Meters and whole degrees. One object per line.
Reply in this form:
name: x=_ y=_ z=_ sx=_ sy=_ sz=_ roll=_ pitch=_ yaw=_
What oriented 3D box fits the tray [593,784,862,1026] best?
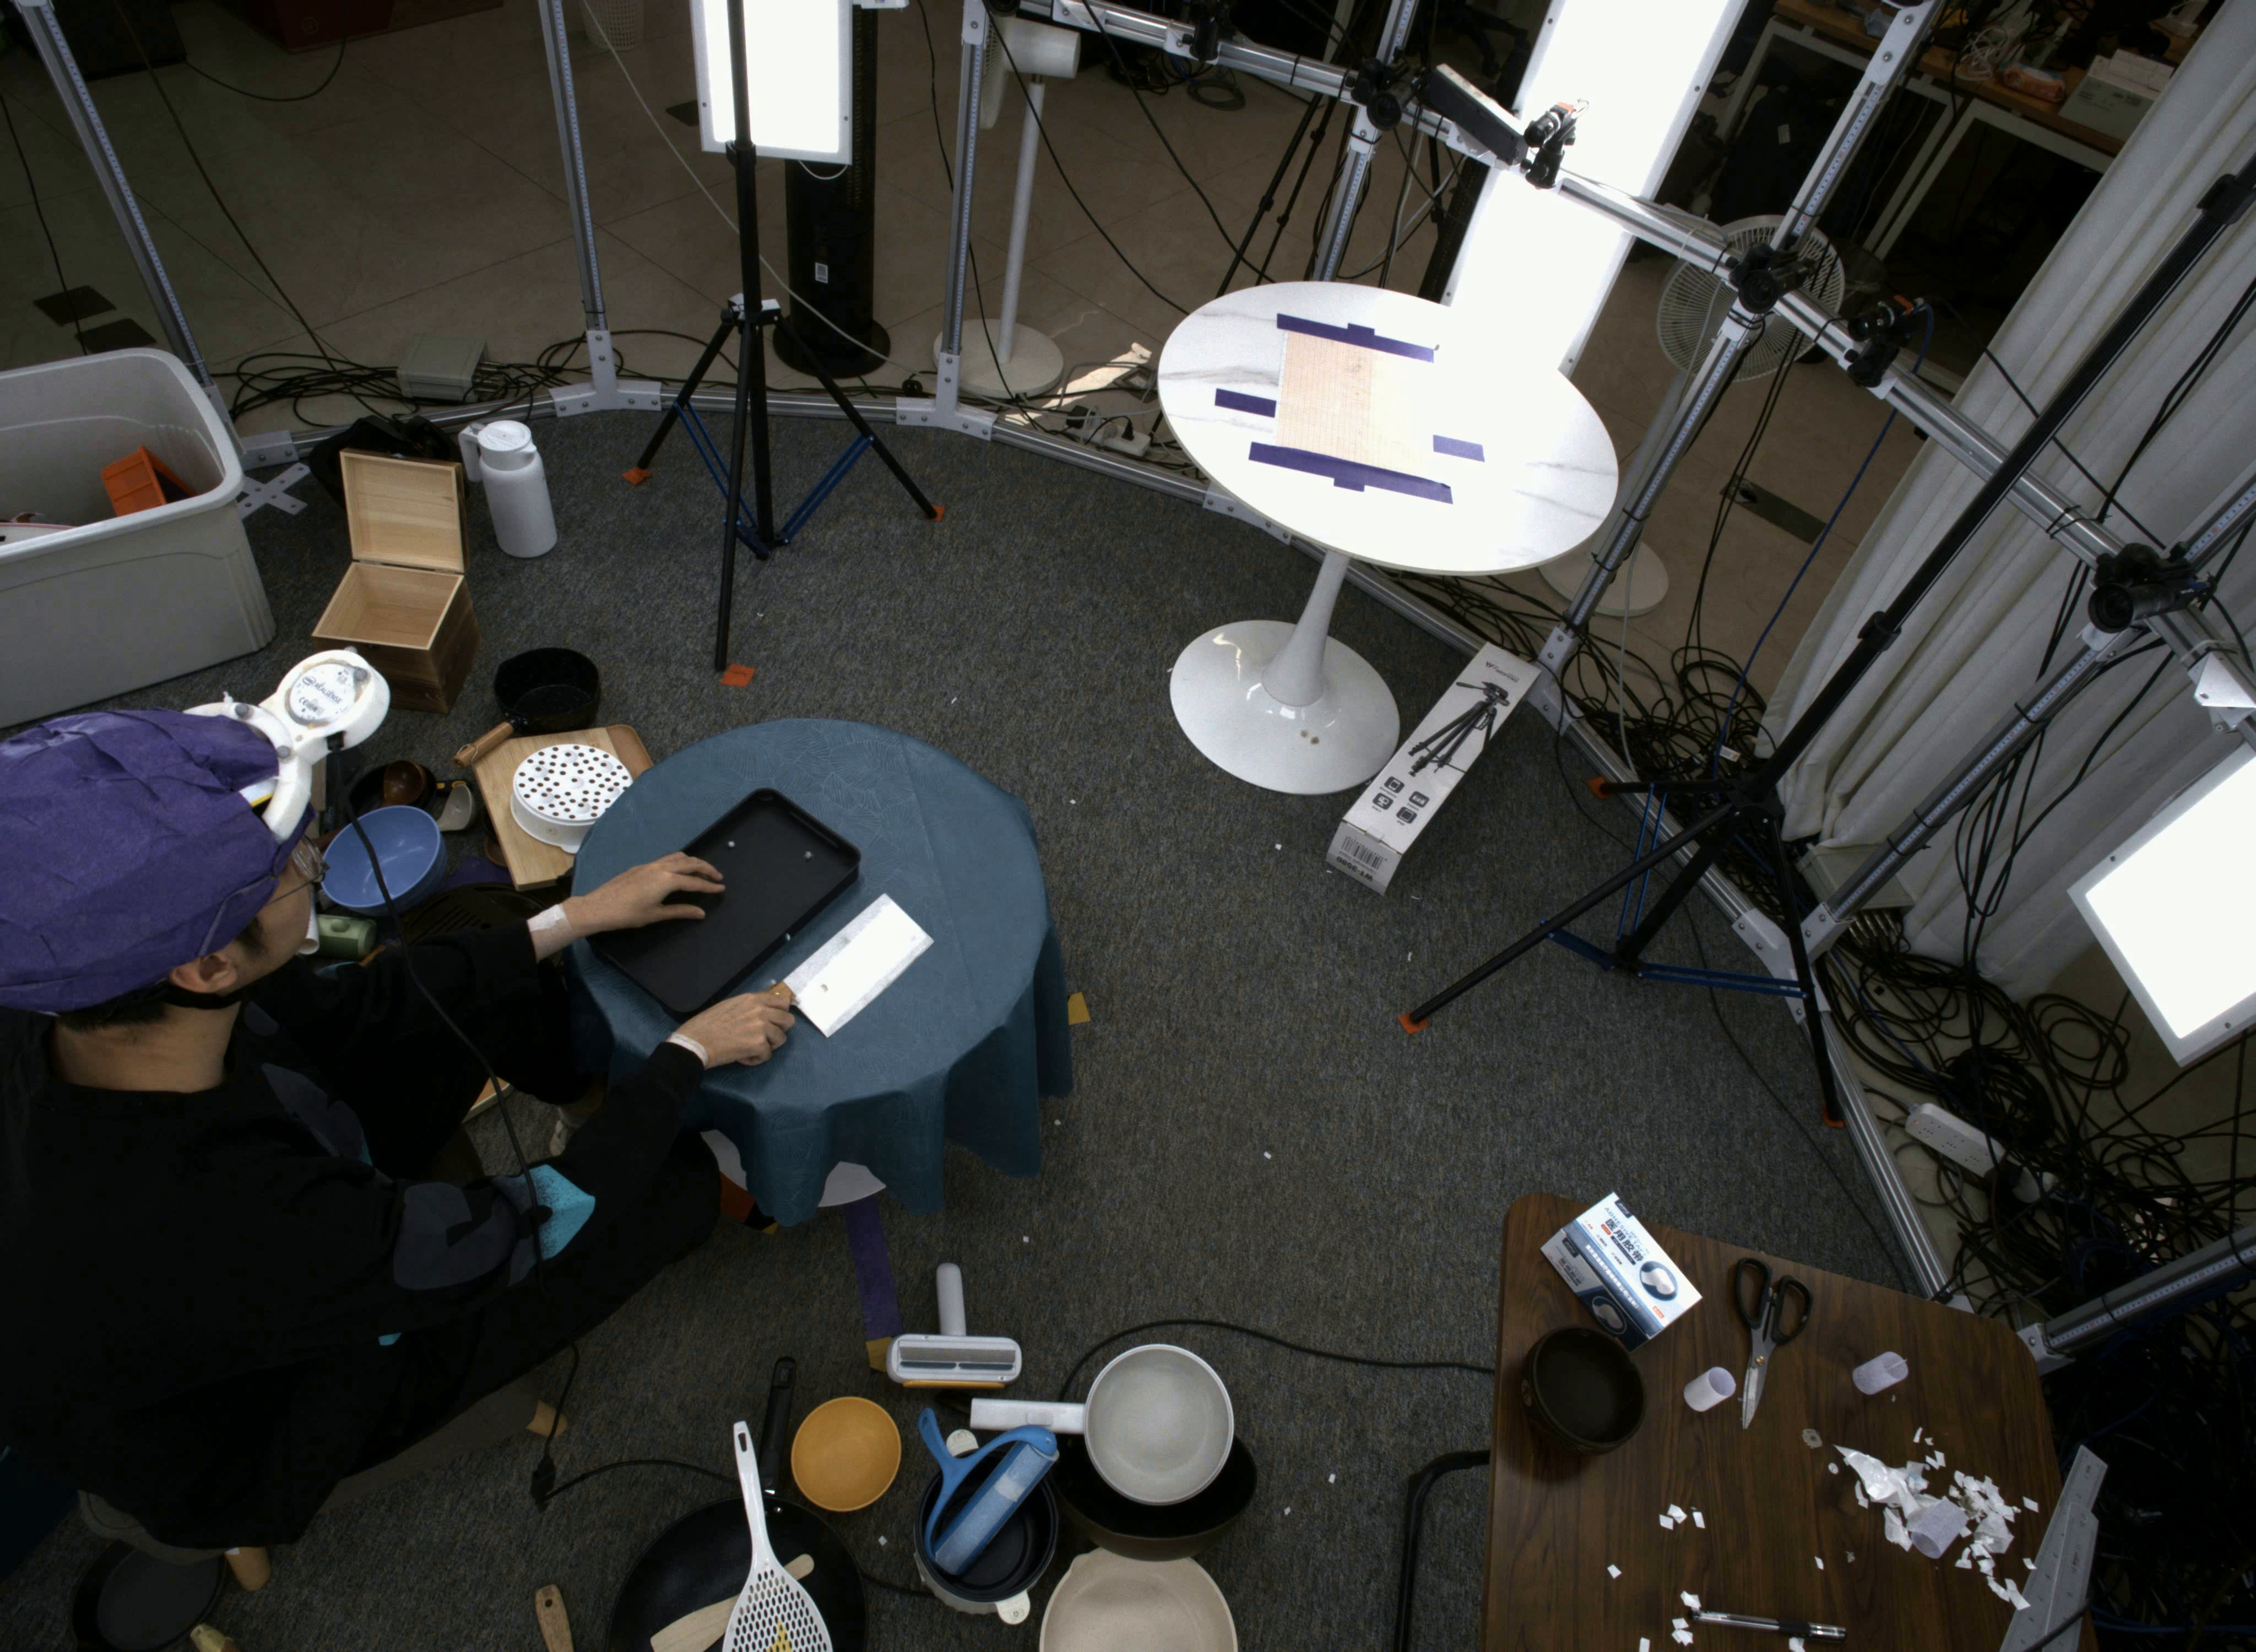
tray: x=-0.494 y=0.089 z=1.605 sx=0.181 sy=0.038 sz=0.317 roll=33 pitch=53 yaw=10

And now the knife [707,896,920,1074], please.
knife: x=-0.368 y=0.200 z=1.564 sx=0.092 sy=0.021 sz=0.305 roll=44 pitch=54 yaw=2
